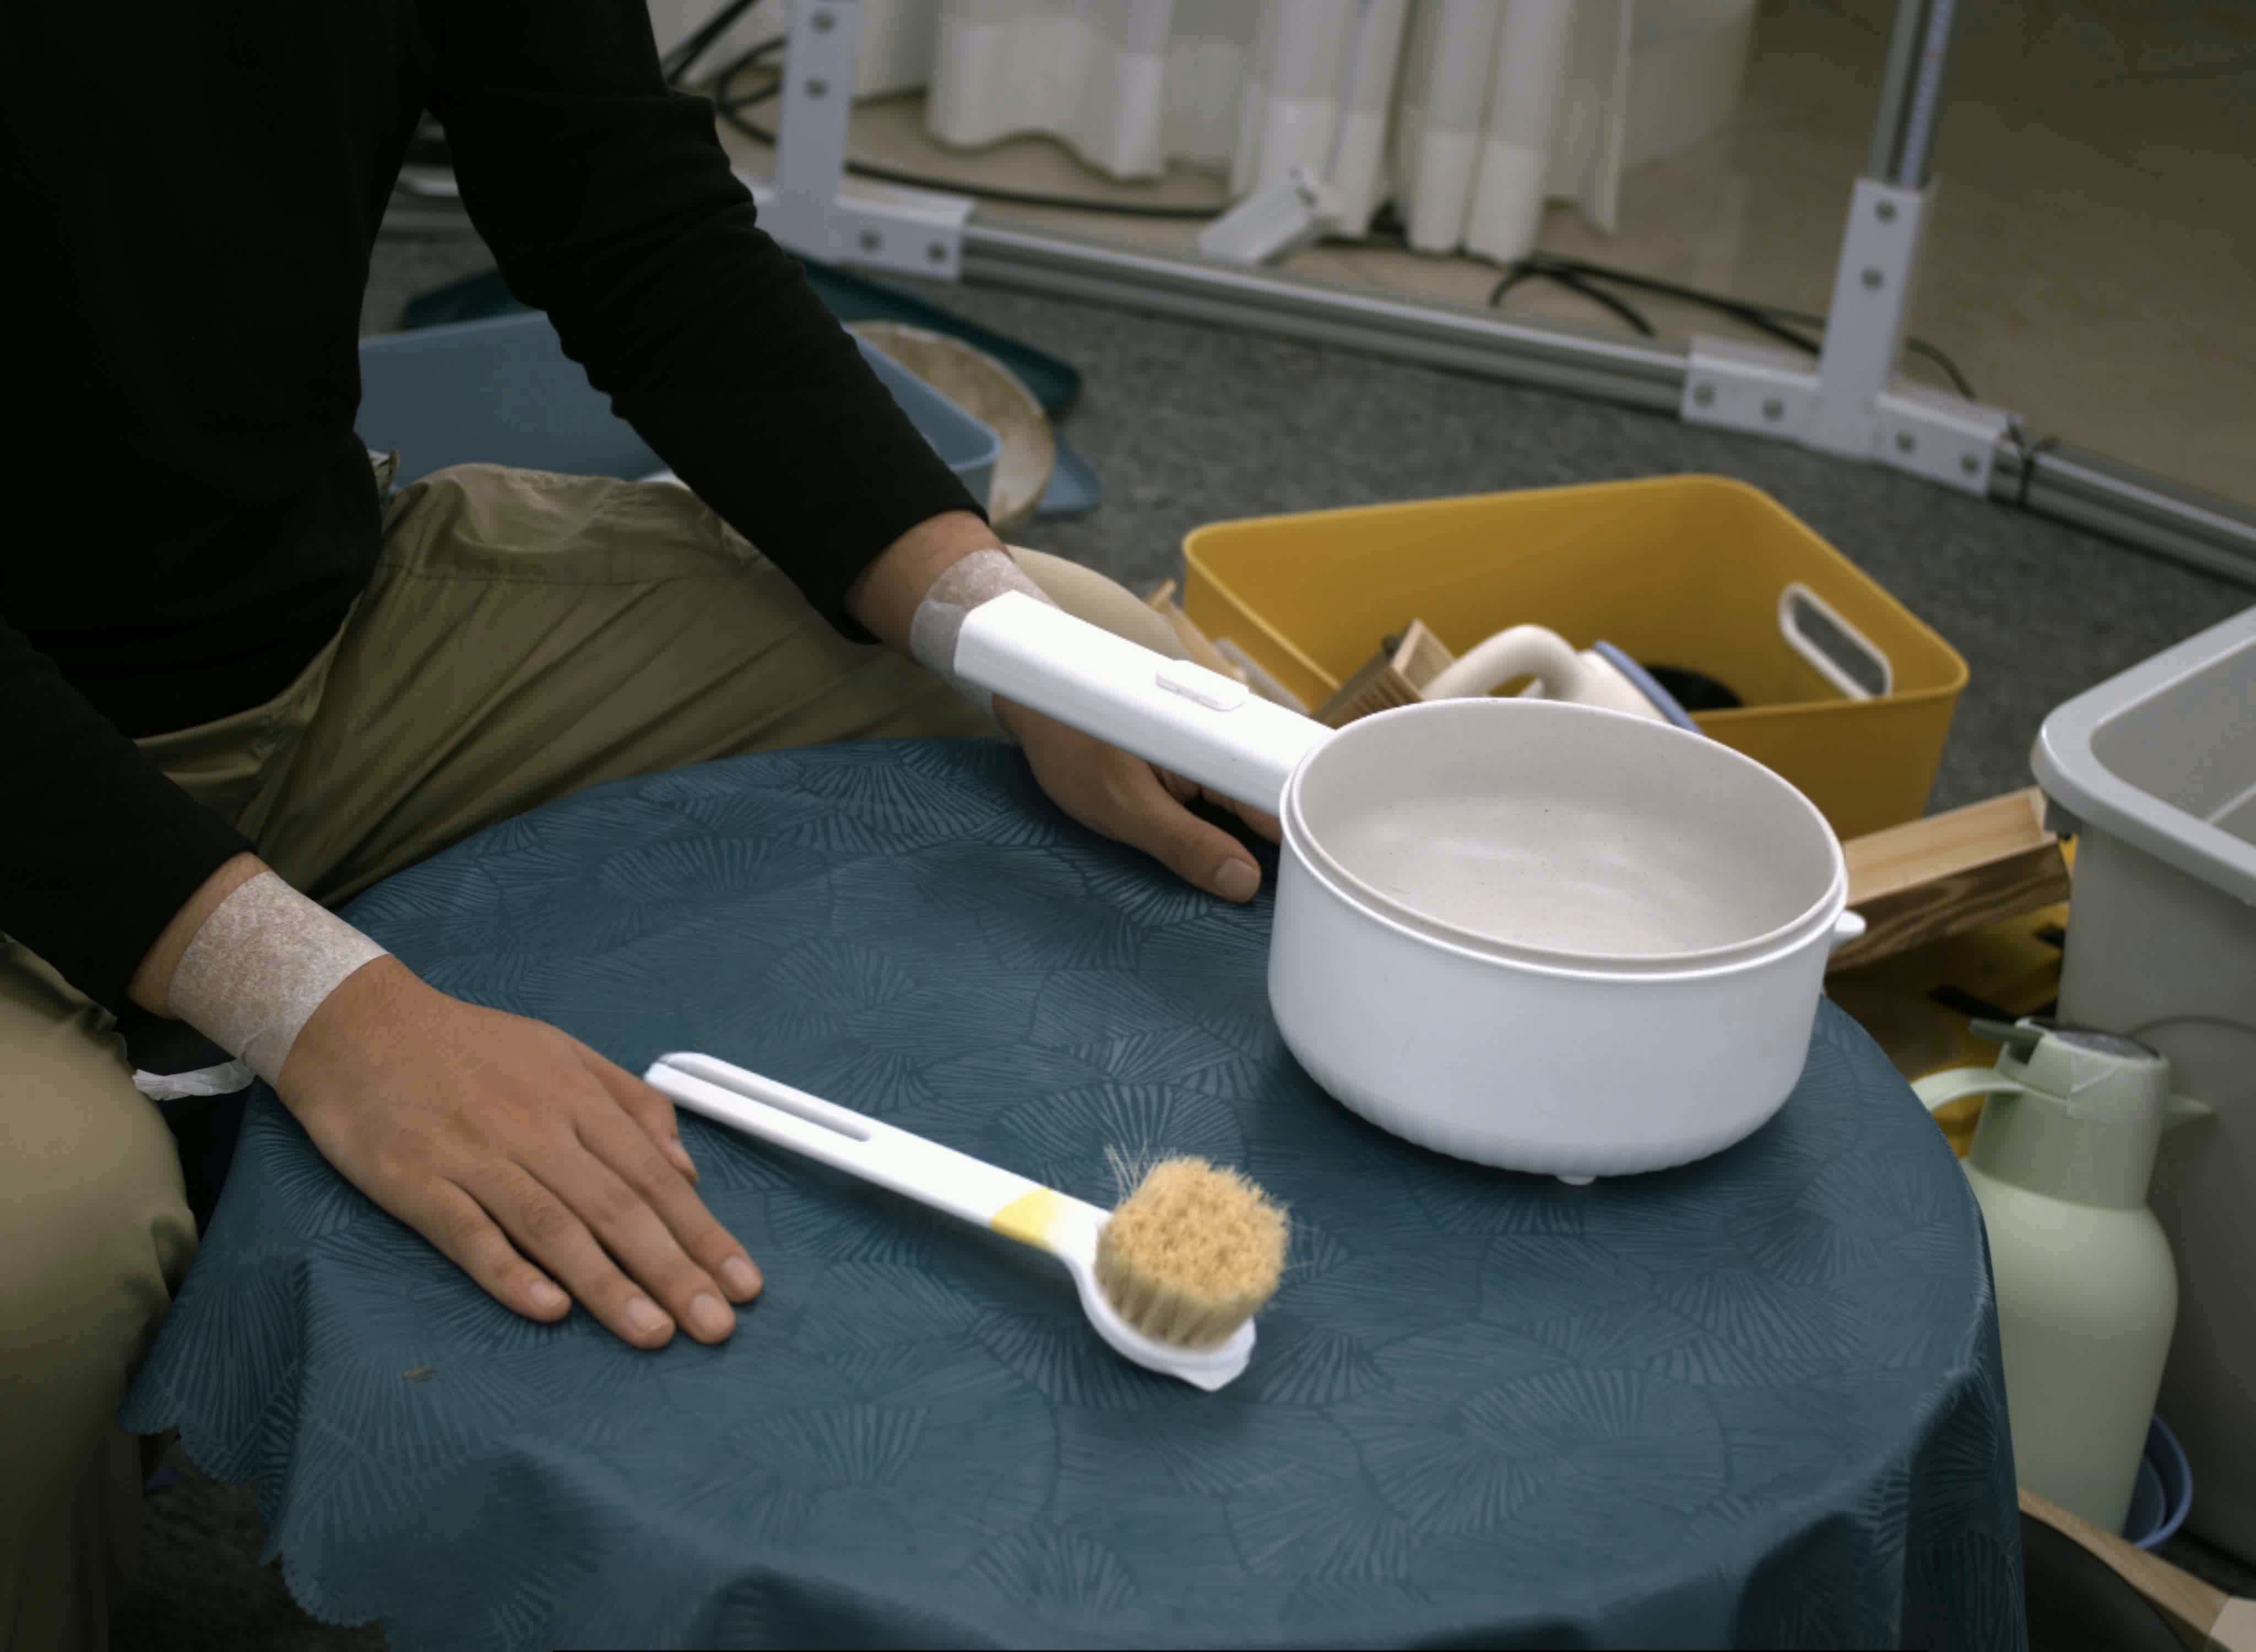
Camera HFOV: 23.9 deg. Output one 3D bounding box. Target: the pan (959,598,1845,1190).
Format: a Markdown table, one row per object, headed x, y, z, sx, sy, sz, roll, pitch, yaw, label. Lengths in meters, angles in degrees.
| x | y | z | sx | sy | sz | roll | pitch | yaw | label |
| --- | --- | --- | --- | --- | --- | --- | --- | --- | --- |
| 0.086 | 0.019 | 1.922 | 0.357 | 0.102 | 0.200 | 22 | 32 | 30 | pan |

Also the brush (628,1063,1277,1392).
| x | y | z | sx | sy | sz | roll | pitch | yaw | label |
| --- | --- | --- | --- | --- | --- | --- | --- | --- | --- |
| -0.064 | 0.110 | 1.756 | 0.268 | 0.056 | 0.068 | 24 | 27 | 33 | brush |
